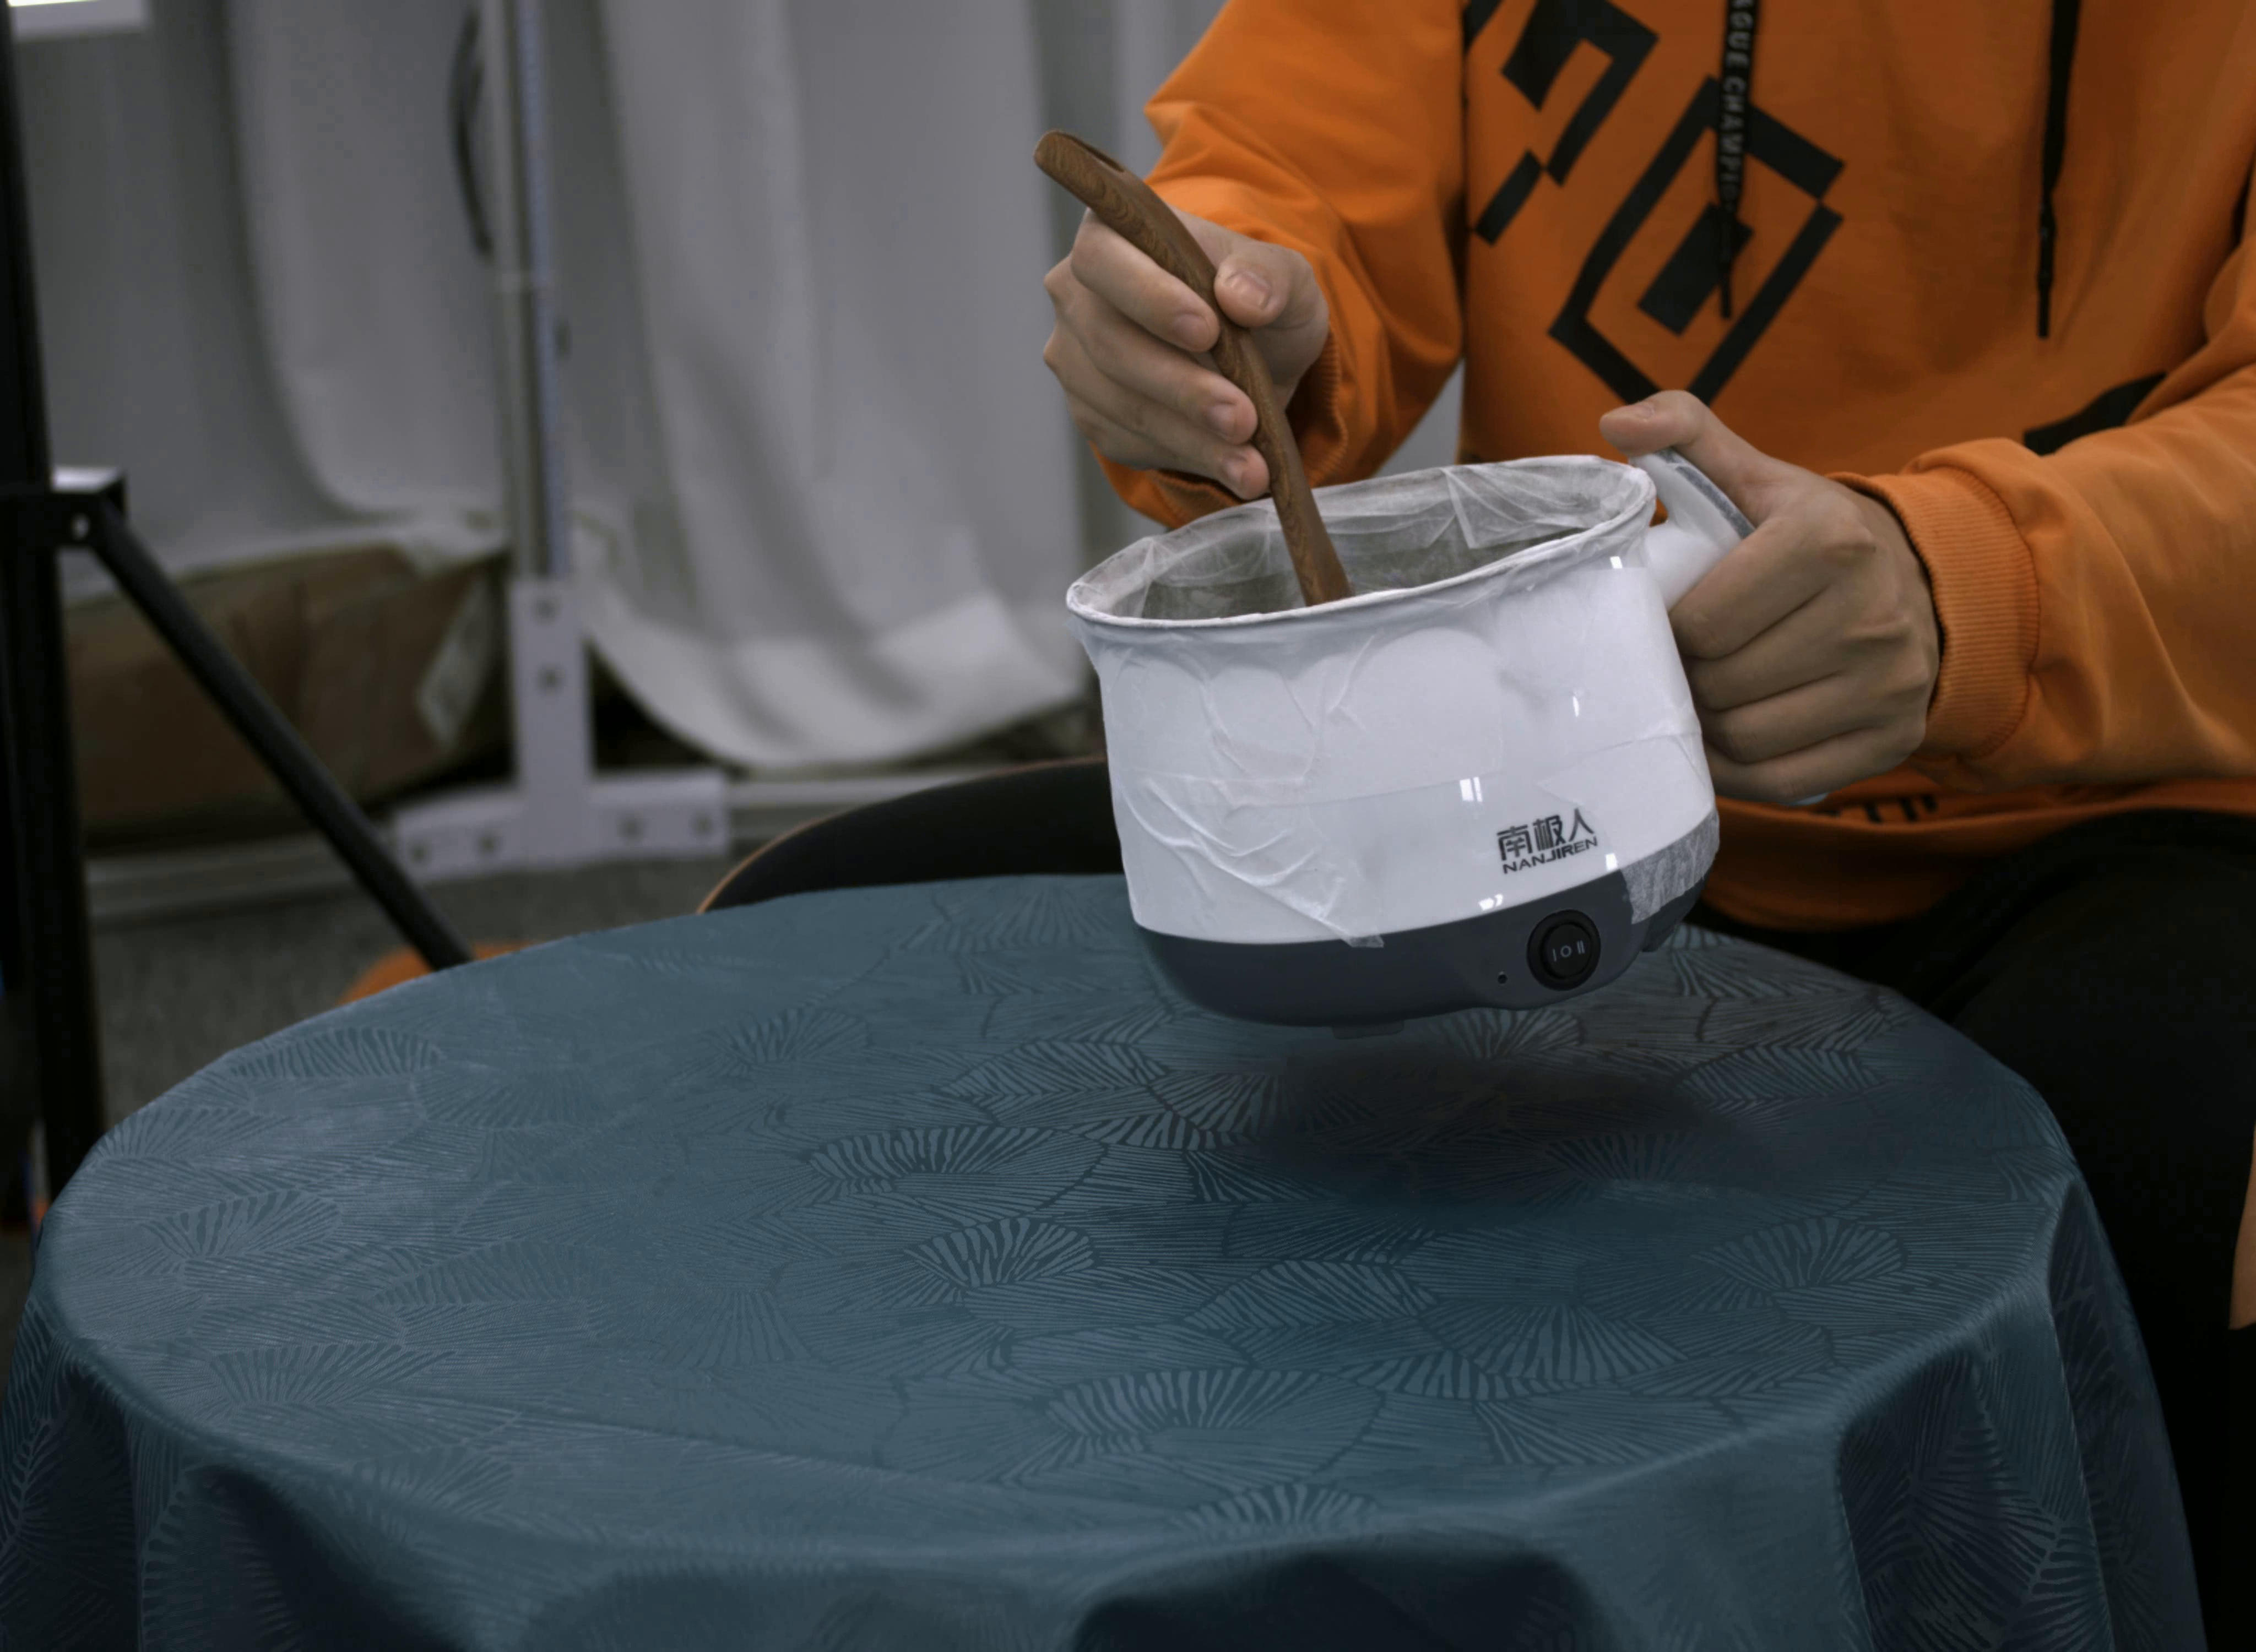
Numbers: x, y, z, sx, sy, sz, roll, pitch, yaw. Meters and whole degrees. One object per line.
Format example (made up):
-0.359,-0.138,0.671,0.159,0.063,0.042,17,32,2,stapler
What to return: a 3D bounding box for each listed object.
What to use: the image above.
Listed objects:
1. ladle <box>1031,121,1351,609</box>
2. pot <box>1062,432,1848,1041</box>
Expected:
0.056,-0.116,1.587,0.065,0.263,0.075,-34,-16,19,ladle
0.104,-0.032,1.584,0.230,0.136,0.182,-18,15,-20,pot
